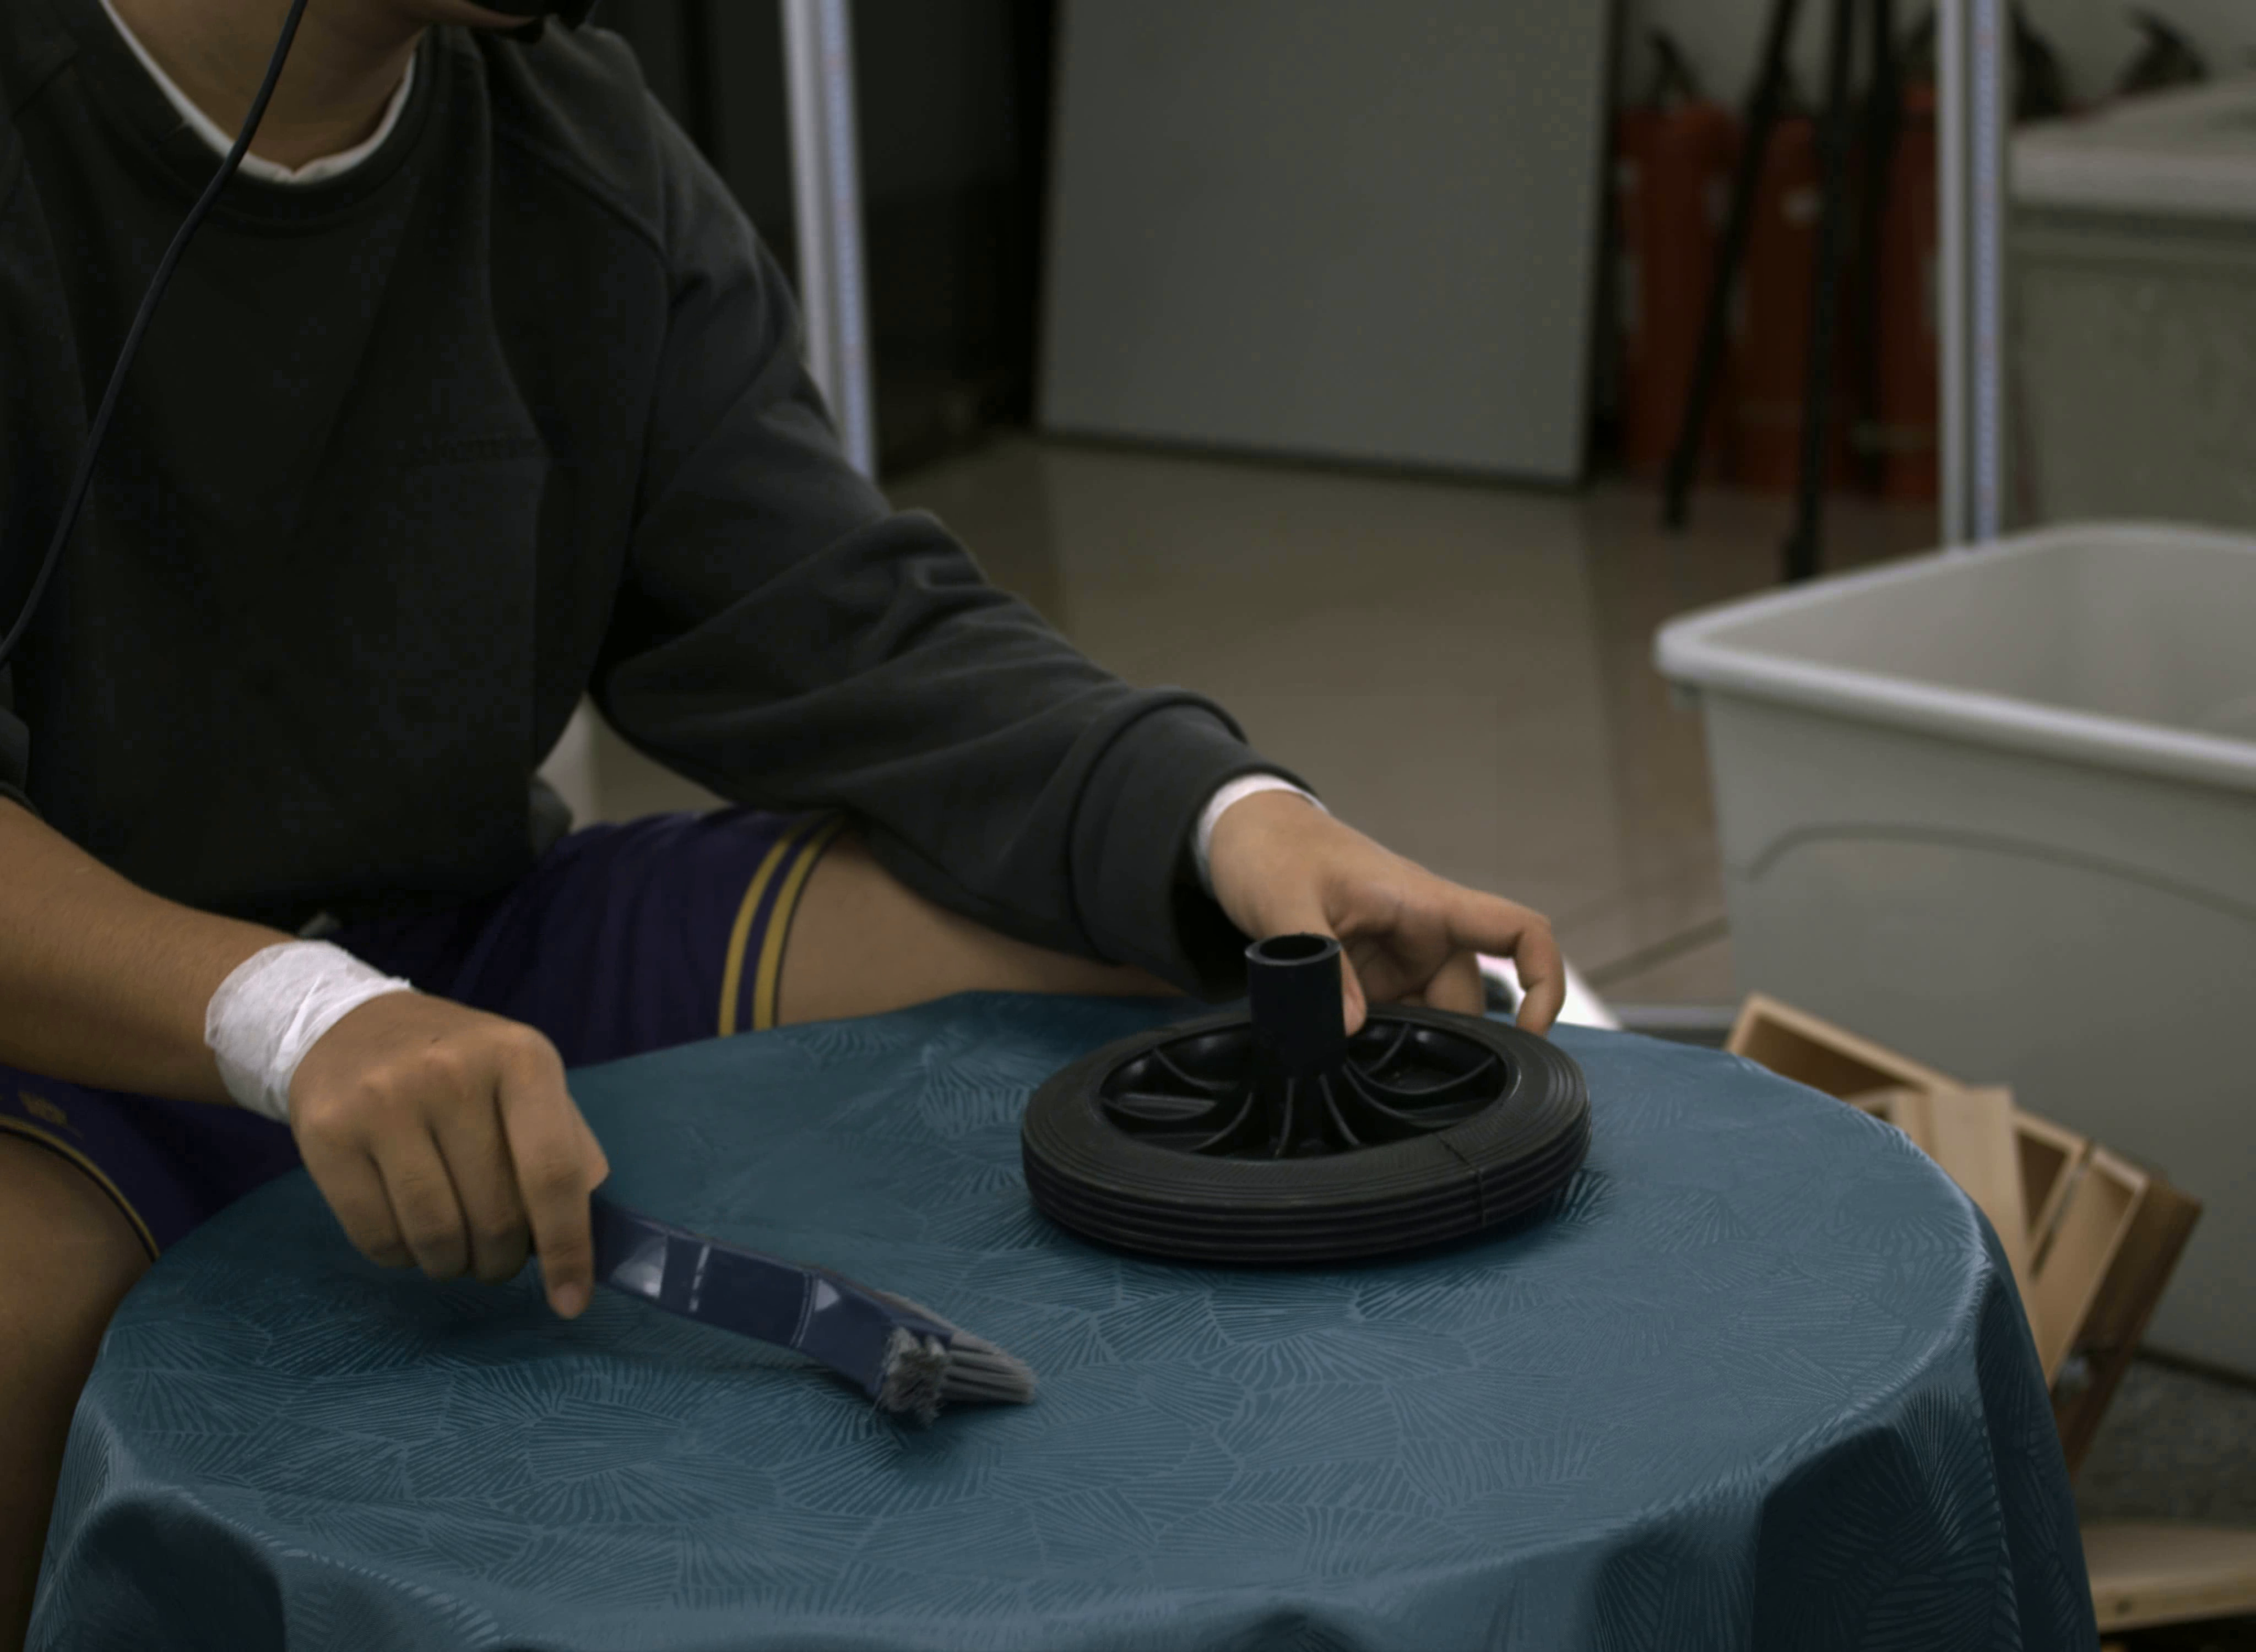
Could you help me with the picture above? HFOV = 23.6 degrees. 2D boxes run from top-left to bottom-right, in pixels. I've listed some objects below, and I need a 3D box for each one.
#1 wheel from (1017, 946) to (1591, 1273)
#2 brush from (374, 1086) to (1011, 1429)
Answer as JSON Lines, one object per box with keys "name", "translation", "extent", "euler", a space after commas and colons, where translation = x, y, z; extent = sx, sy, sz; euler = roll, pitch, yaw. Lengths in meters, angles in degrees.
{"name": "wheel", "translation": [0.055, 0.082, 1.752], "extent": [0.187, 0.080, 0.188], "euler": [-6, 17, 2]}
{"name": "brush", "translation": [-0.148, 0.129, 1.640], "extent": [0.275, 0.034, 0.094], "euler": [16, 6, 35]}
